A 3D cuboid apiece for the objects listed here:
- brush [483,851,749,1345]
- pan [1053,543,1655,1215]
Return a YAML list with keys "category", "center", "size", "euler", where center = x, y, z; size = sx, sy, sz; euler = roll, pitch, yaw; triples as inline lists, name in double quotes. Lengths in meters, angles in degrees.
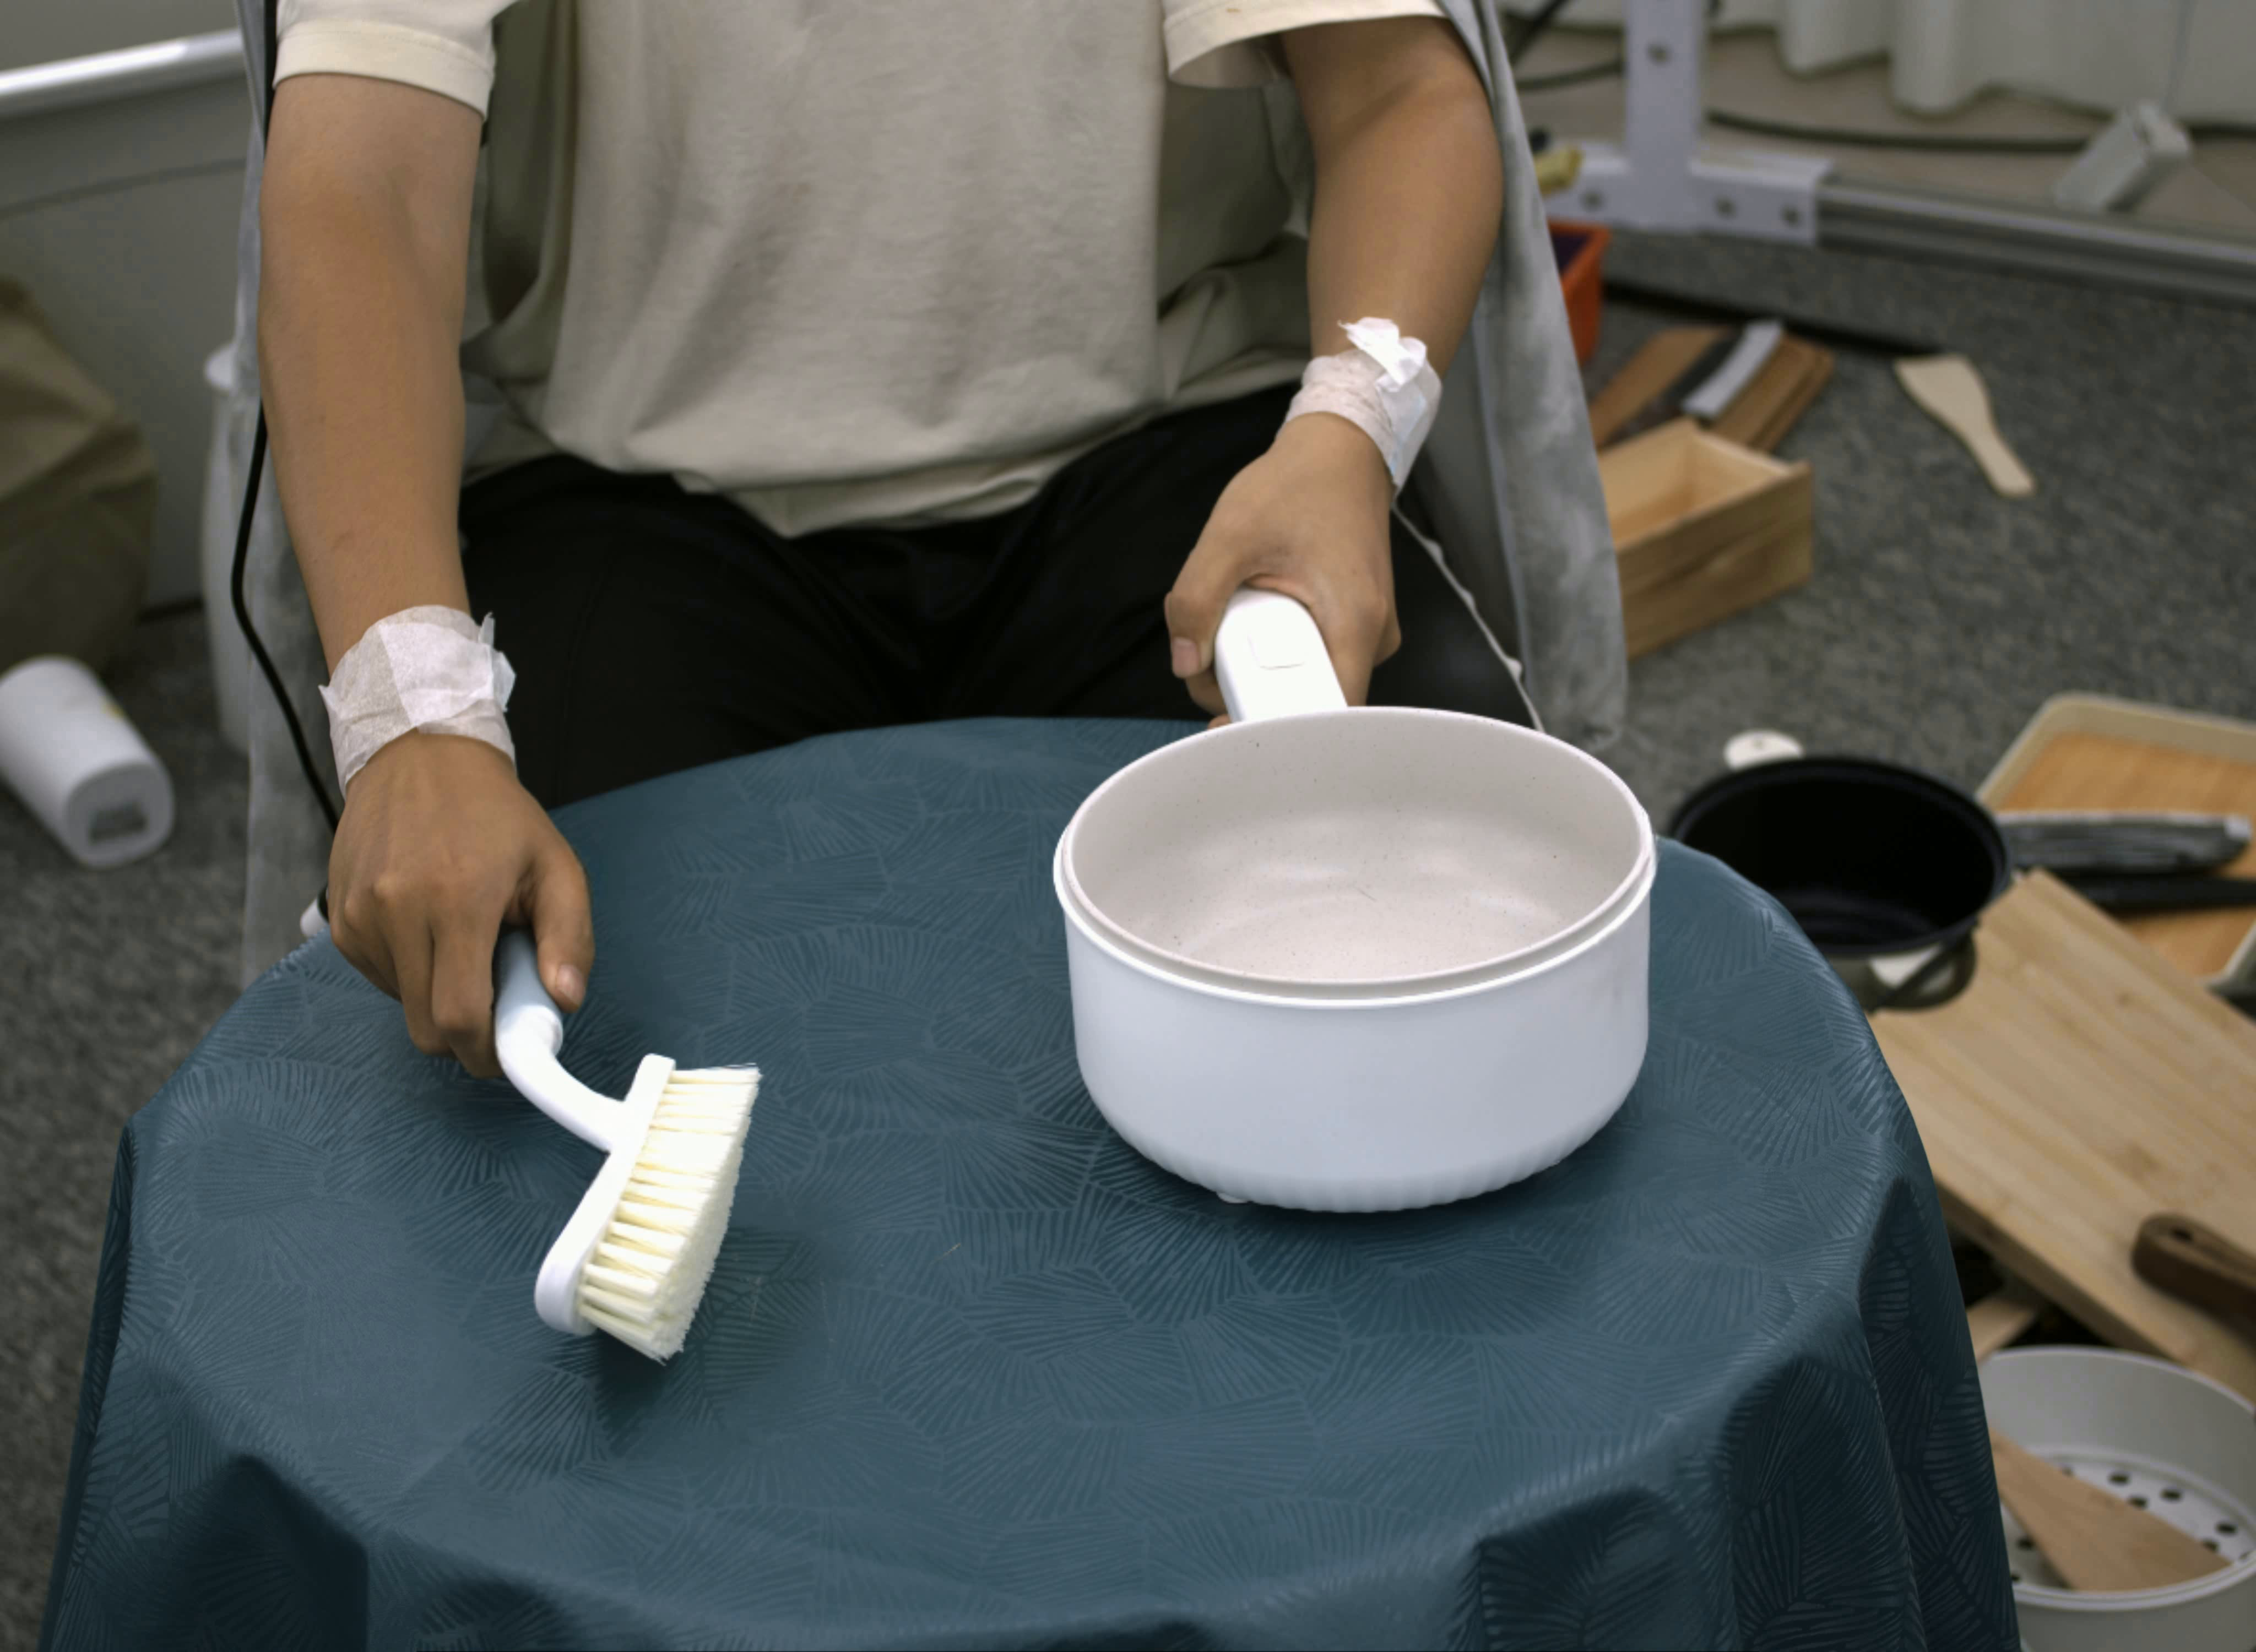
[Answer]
- category: "brush"
  center: [-0.163, 0.081, 1.883]
  size: [0.082, 0.084, 0.329]
  euler: [-39, 21, 10]
- category: "pan"
  center: [0.066, 0.015, 1.955]
  size: [0.201, 0.101, 0.359]
  euler: [-7, 26, -6]
